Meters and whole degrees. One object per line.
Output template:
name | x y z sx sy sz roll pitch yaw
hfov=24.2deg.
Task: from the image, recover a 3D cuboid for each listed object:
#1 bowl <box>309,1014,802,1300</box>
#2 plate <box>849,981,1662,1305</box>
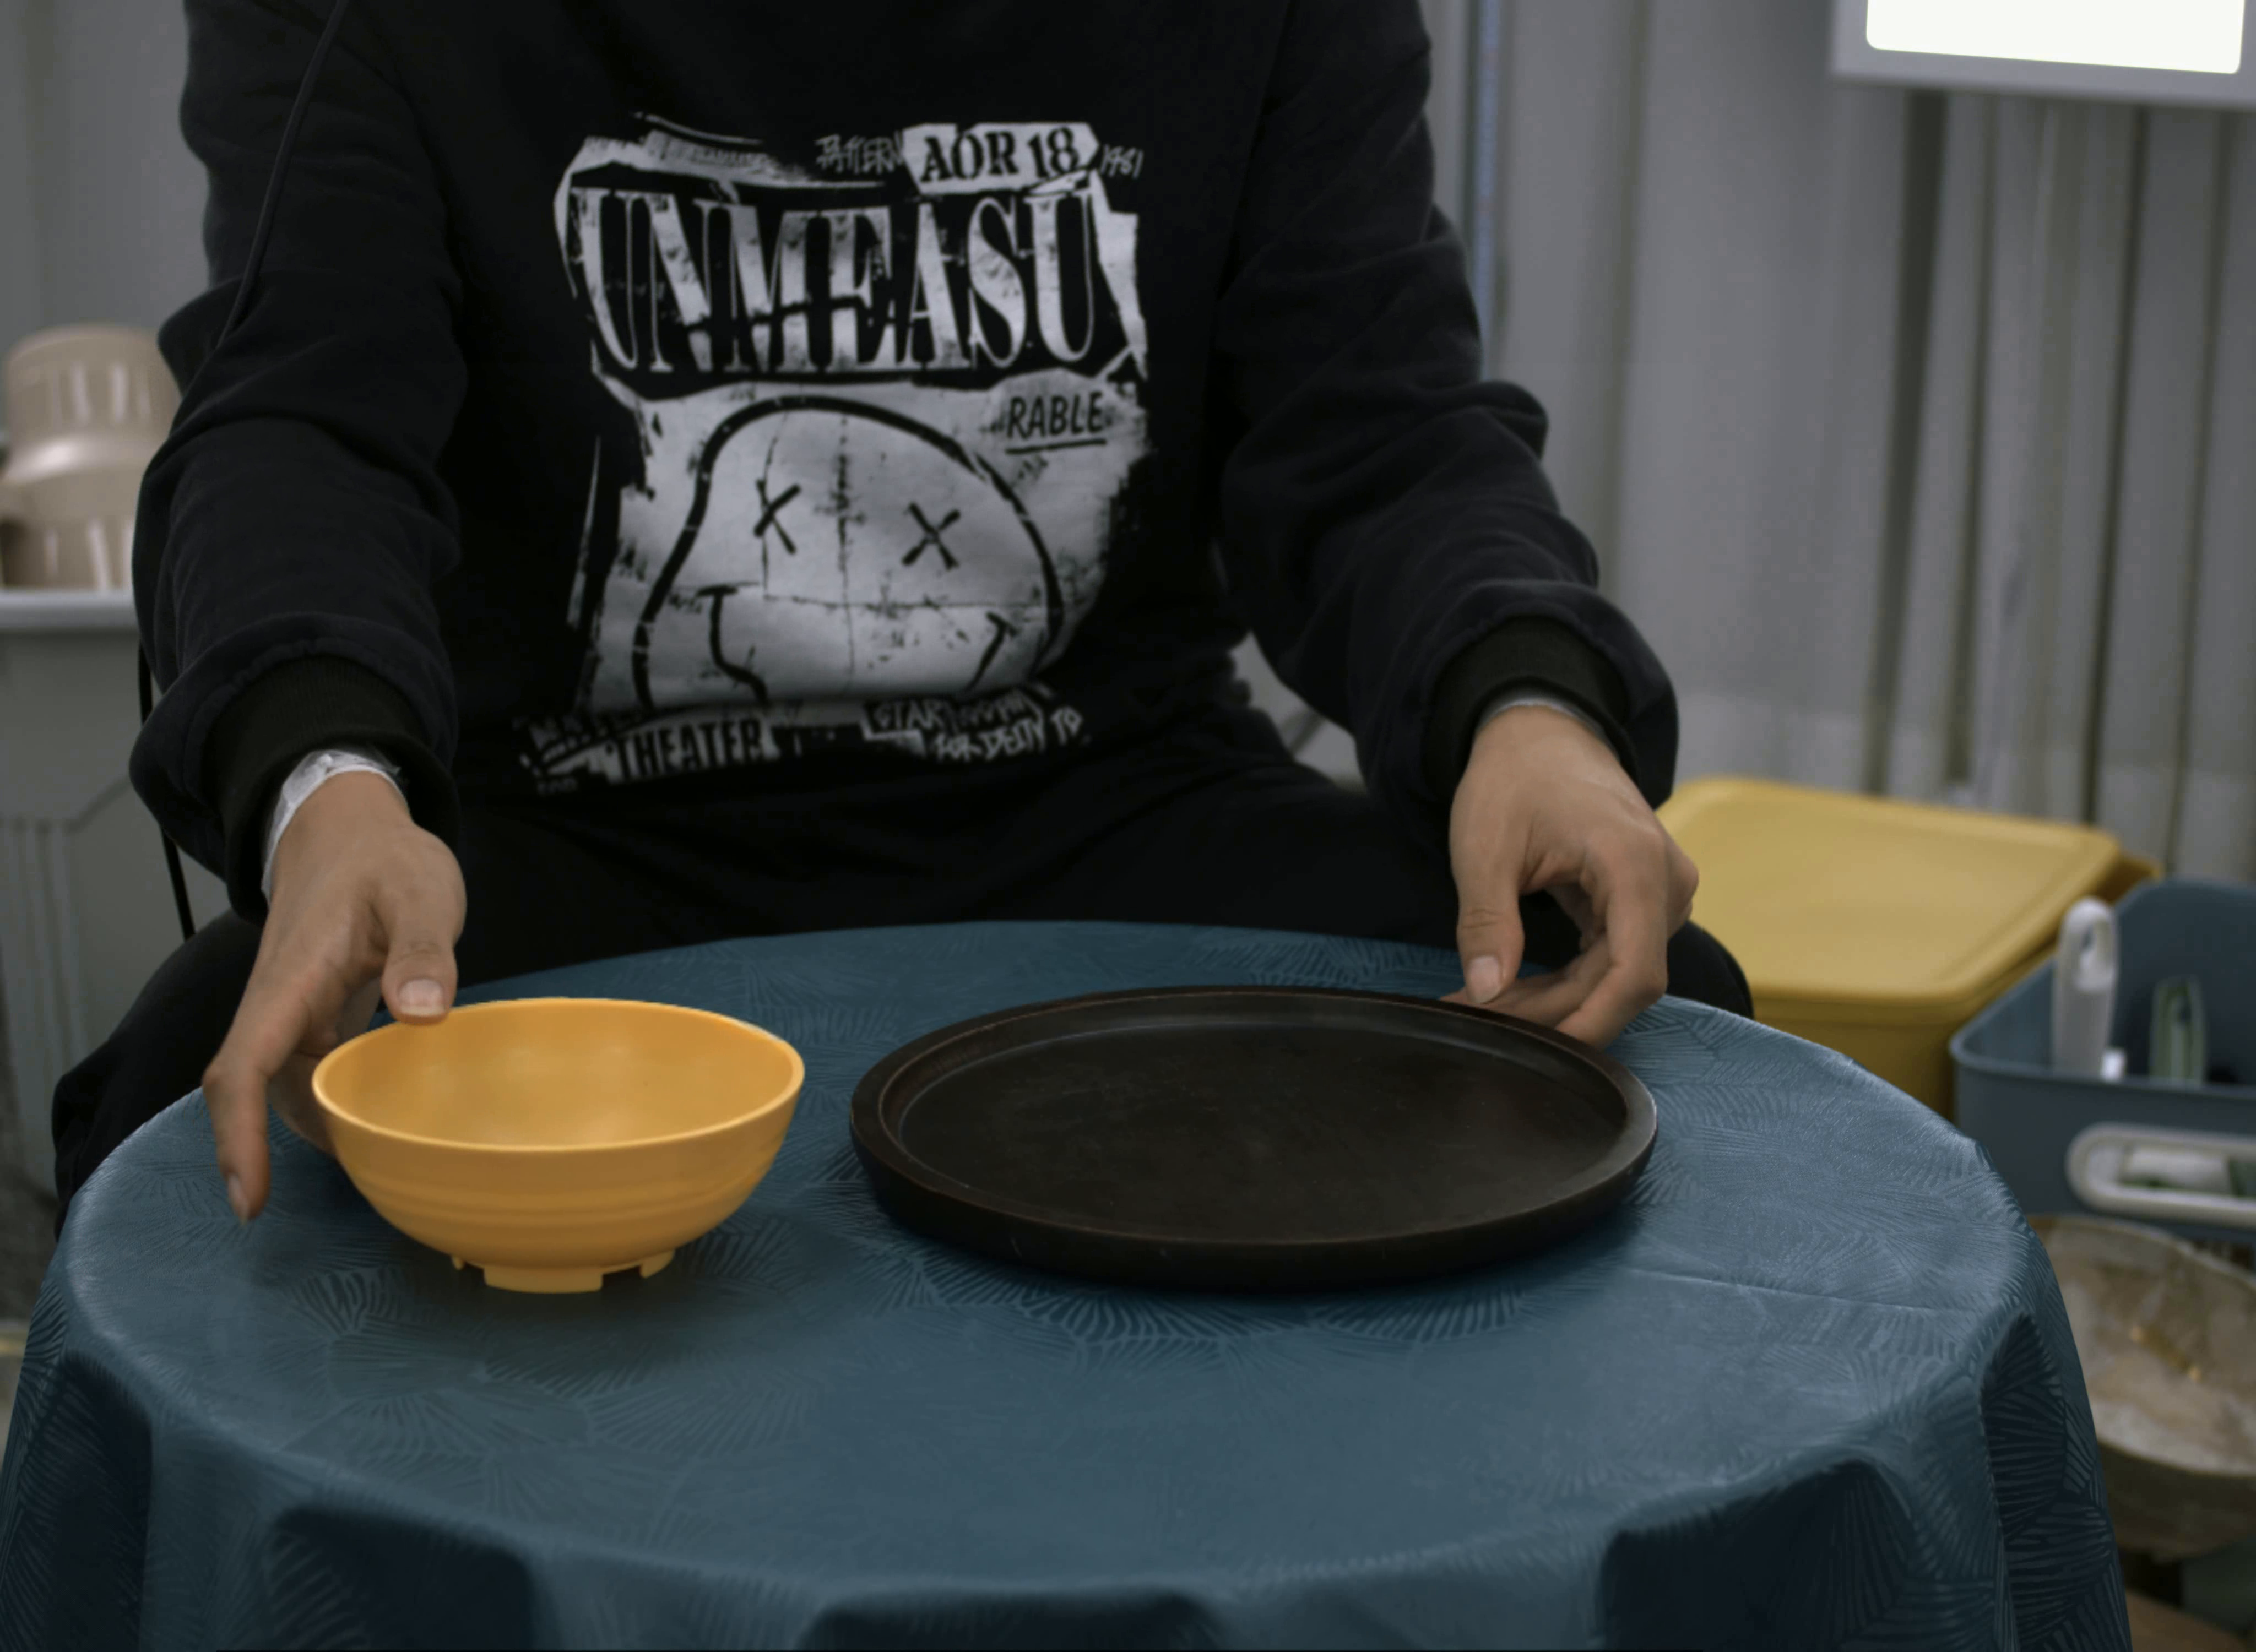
bowl | -0.169 0.102 1.556 0.145 0.060 0.144 2 13 0
plate | 0.039 0.096 1.644 0.254 0.029 0.253 -1 16 1
